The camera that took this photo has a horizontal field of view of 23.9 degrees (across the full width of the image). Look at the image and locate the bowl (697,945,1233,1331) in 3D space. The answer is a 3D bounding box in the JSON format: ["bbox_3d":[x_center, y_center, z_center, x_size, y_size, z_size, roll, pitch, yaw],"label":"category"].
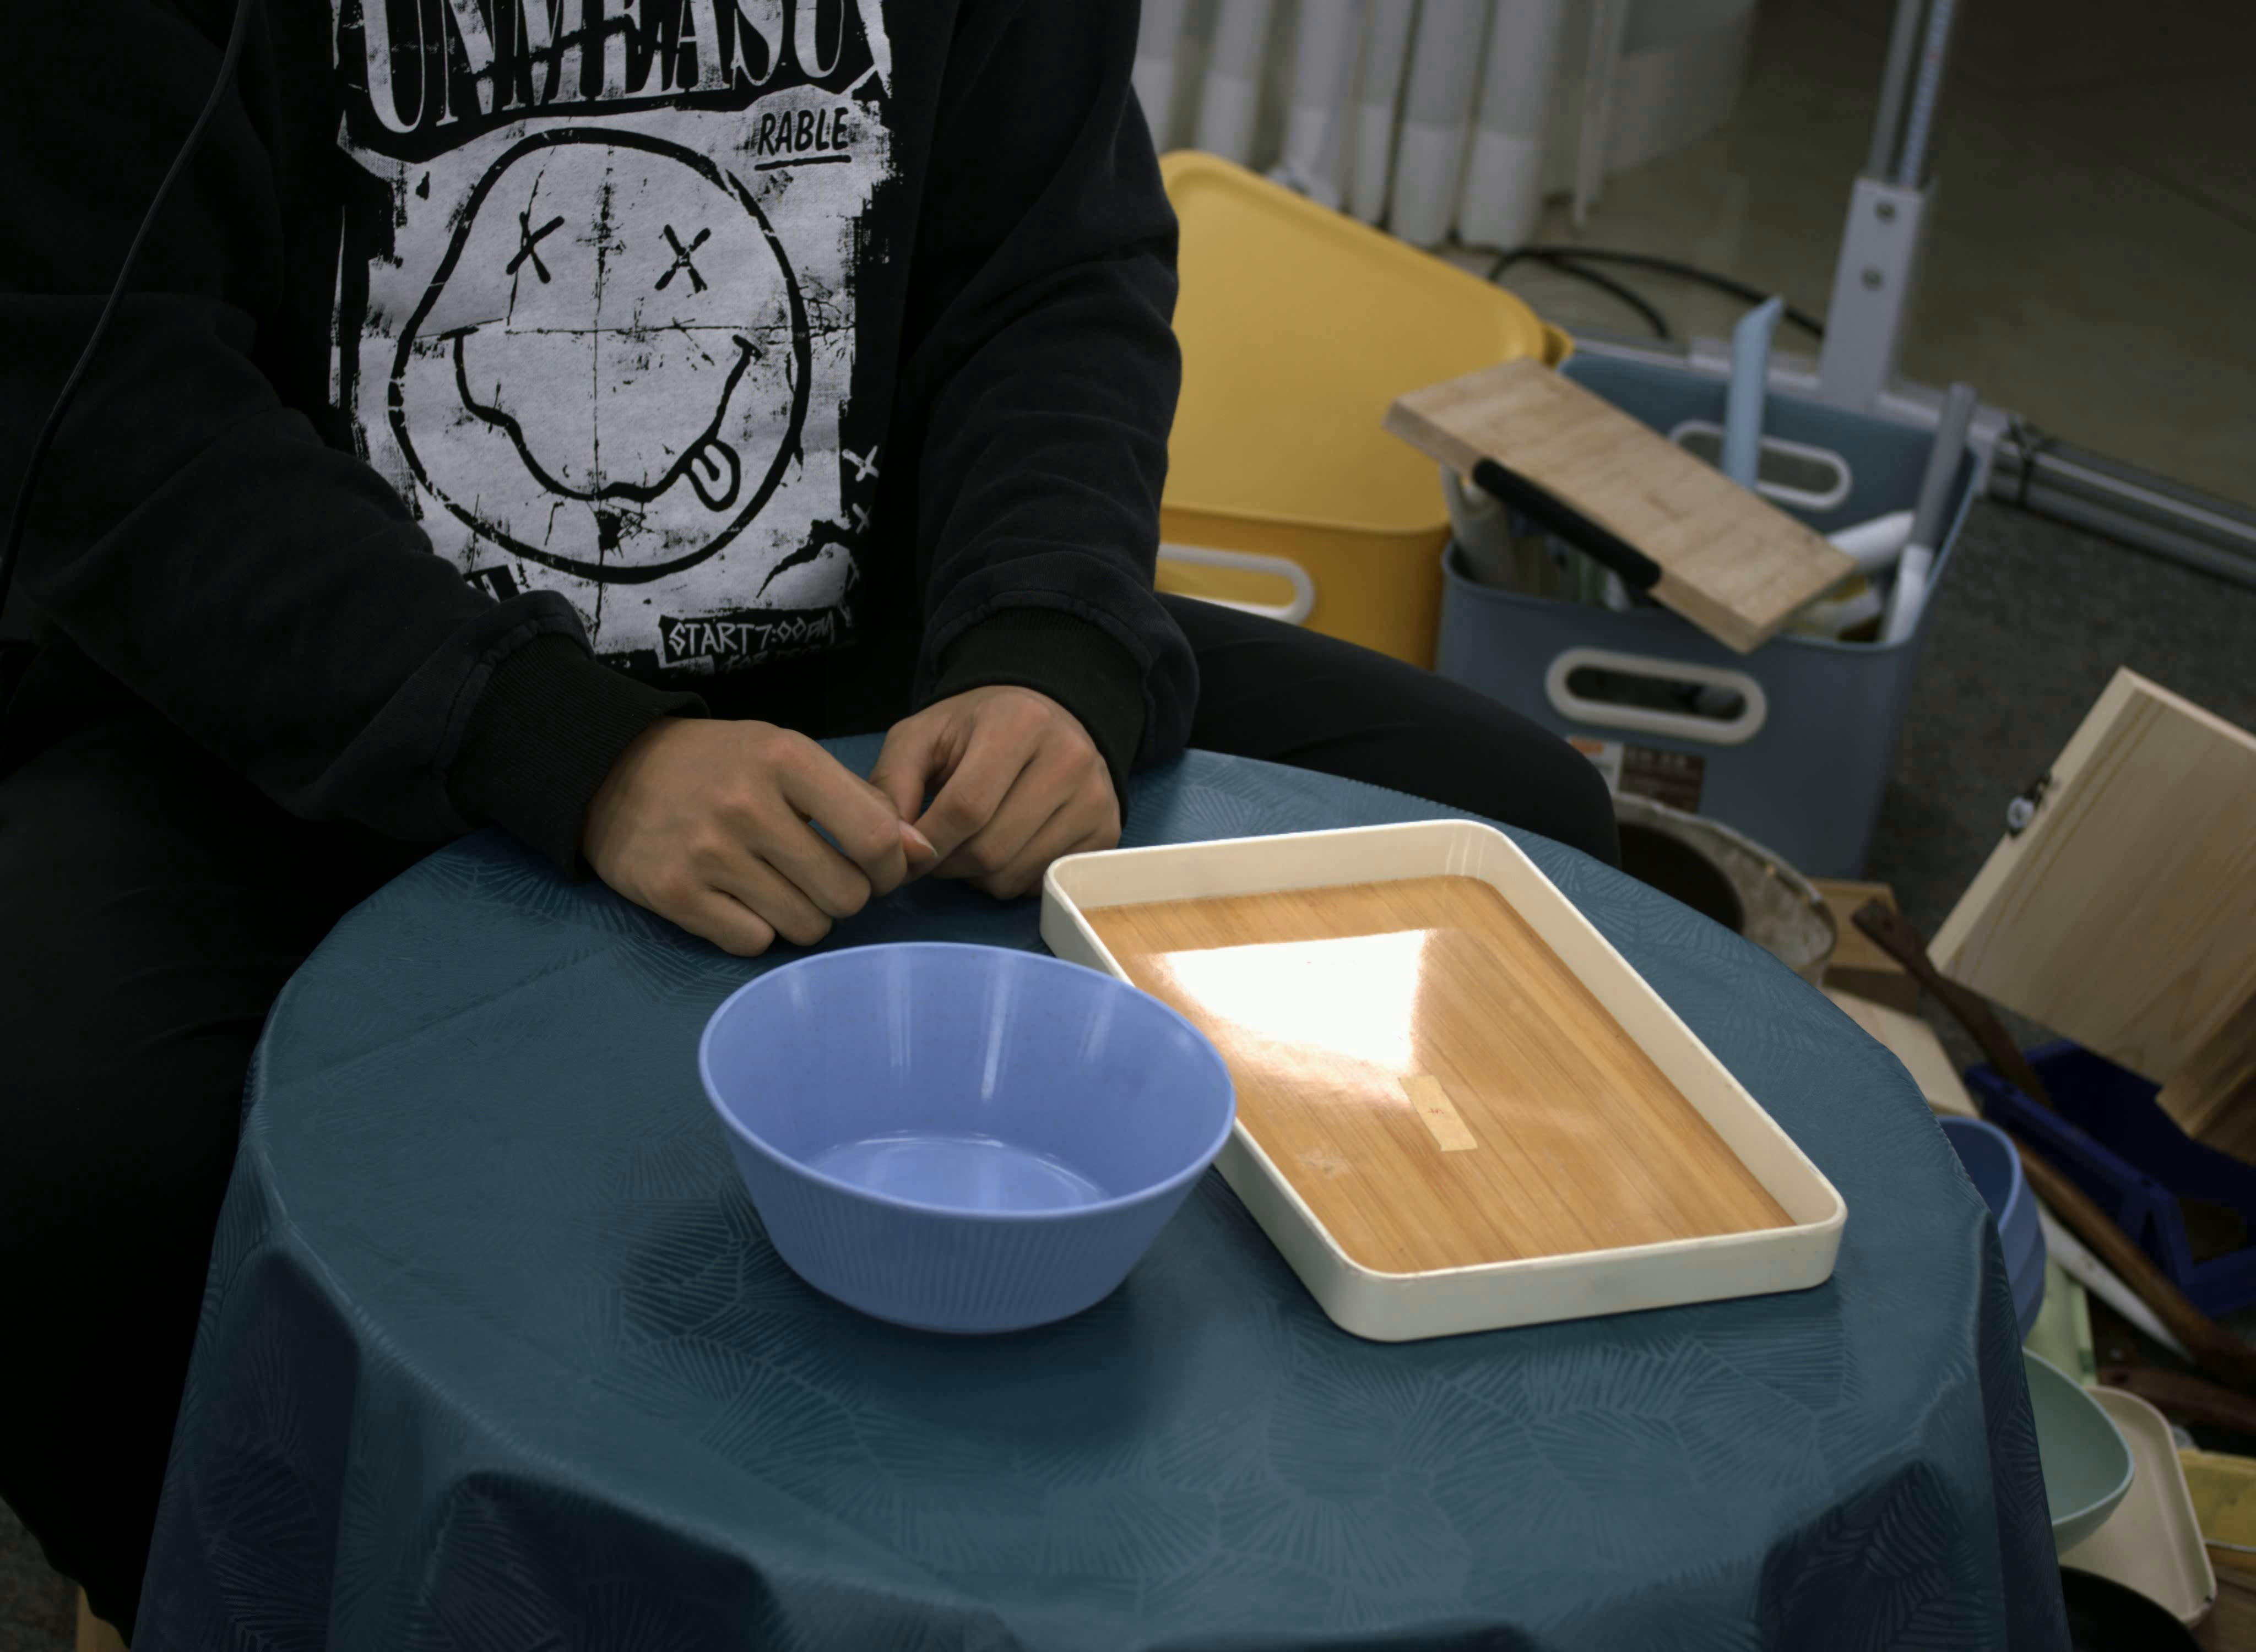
[{"bbox_3d":[-0.057,0.108,1.740,0.175,0.070,0.177,6,26,-3],"label":"bowl"}]

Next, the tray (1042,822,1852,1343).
[{"bbox_3d":[0.106,0.084,1.873,0.190,0.027,0.303,-5,29,-22],"label":"tray"}]
